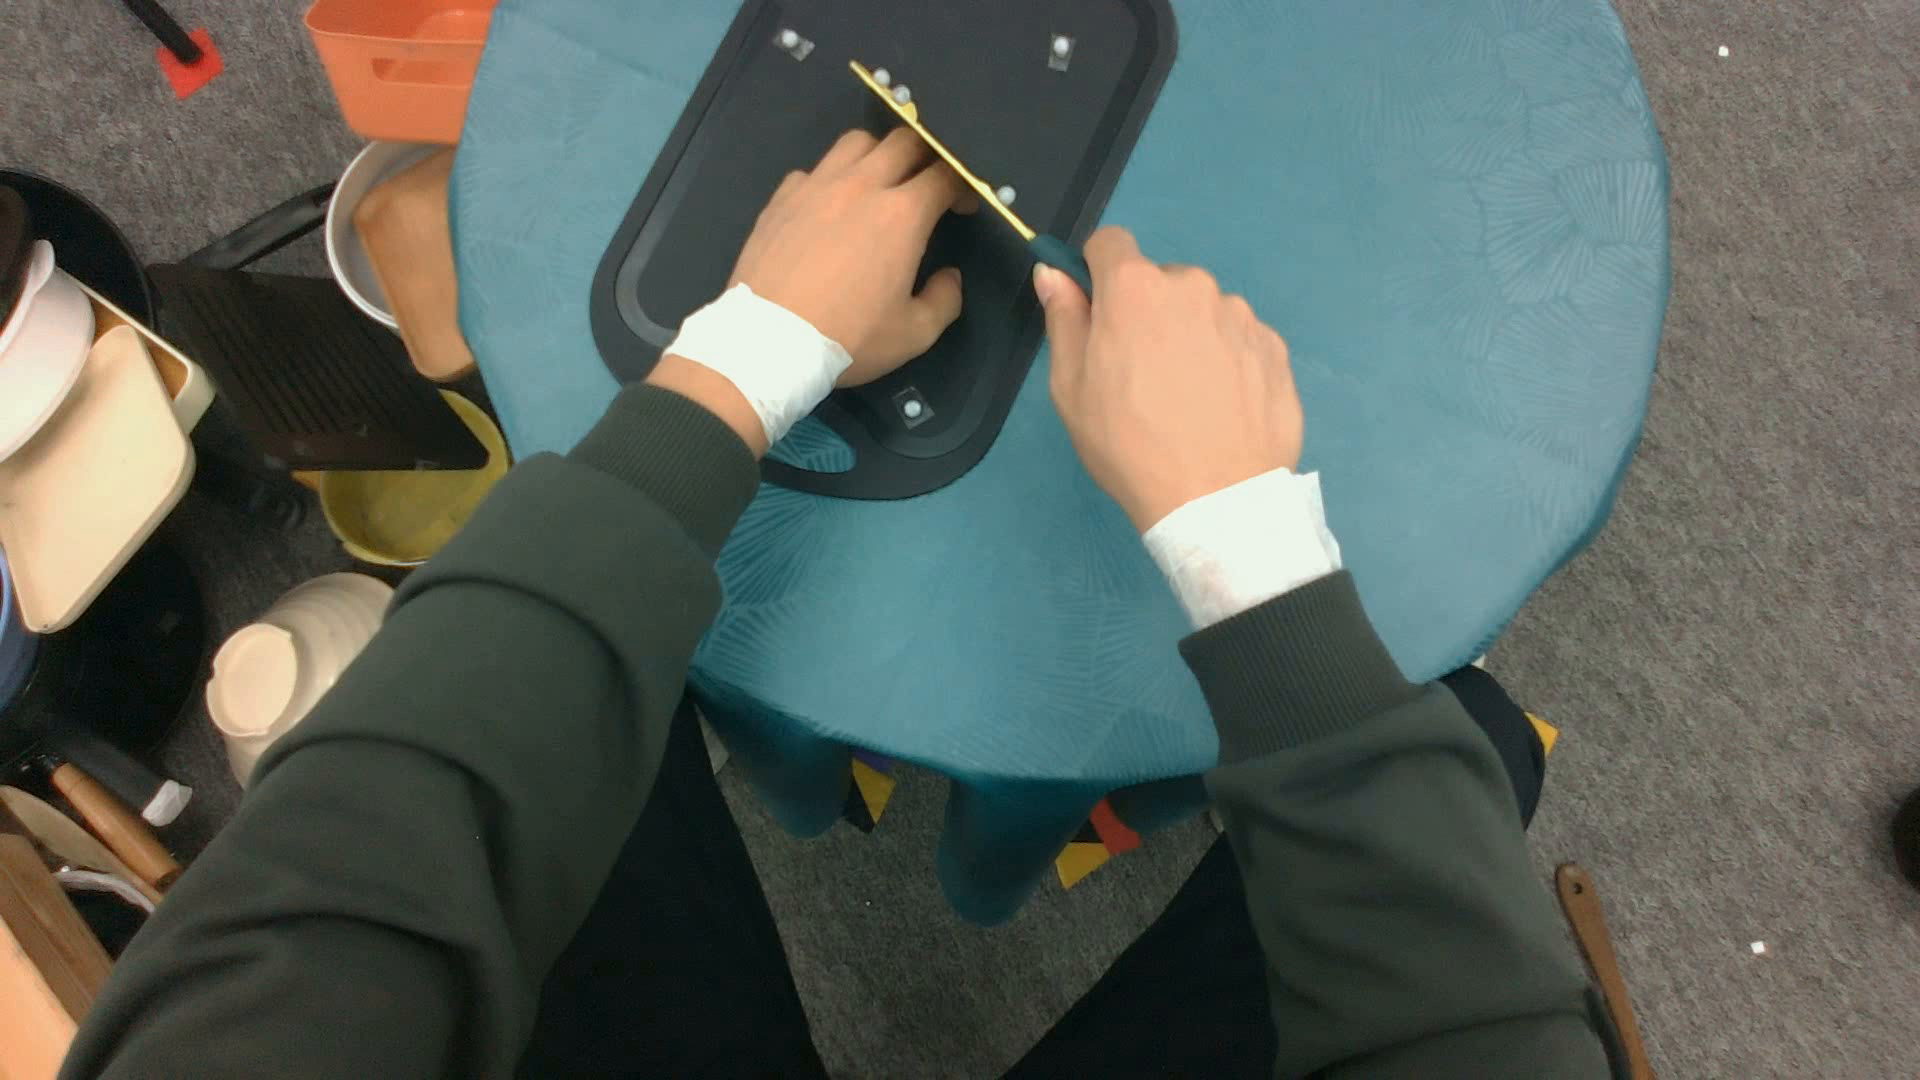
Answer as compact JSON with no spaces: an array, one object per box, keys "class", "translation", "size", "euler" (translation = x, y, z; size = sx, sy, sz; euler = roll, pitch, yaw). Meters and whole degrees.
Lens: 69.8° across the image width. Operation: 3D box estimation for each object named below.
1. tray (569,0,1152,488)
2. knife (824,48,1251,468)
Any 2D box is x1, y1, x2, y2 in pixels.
[{"class":"tray","translation":[-0.047,-0.183,0.677],"size":[0.211,0.010,0.326],"euler":[24,77,4]},{"class":"knife","translation":[0.027,-0.133,0.608],"size":[0.027,0.081,0.290],"euler":[-47,67,14]}]
